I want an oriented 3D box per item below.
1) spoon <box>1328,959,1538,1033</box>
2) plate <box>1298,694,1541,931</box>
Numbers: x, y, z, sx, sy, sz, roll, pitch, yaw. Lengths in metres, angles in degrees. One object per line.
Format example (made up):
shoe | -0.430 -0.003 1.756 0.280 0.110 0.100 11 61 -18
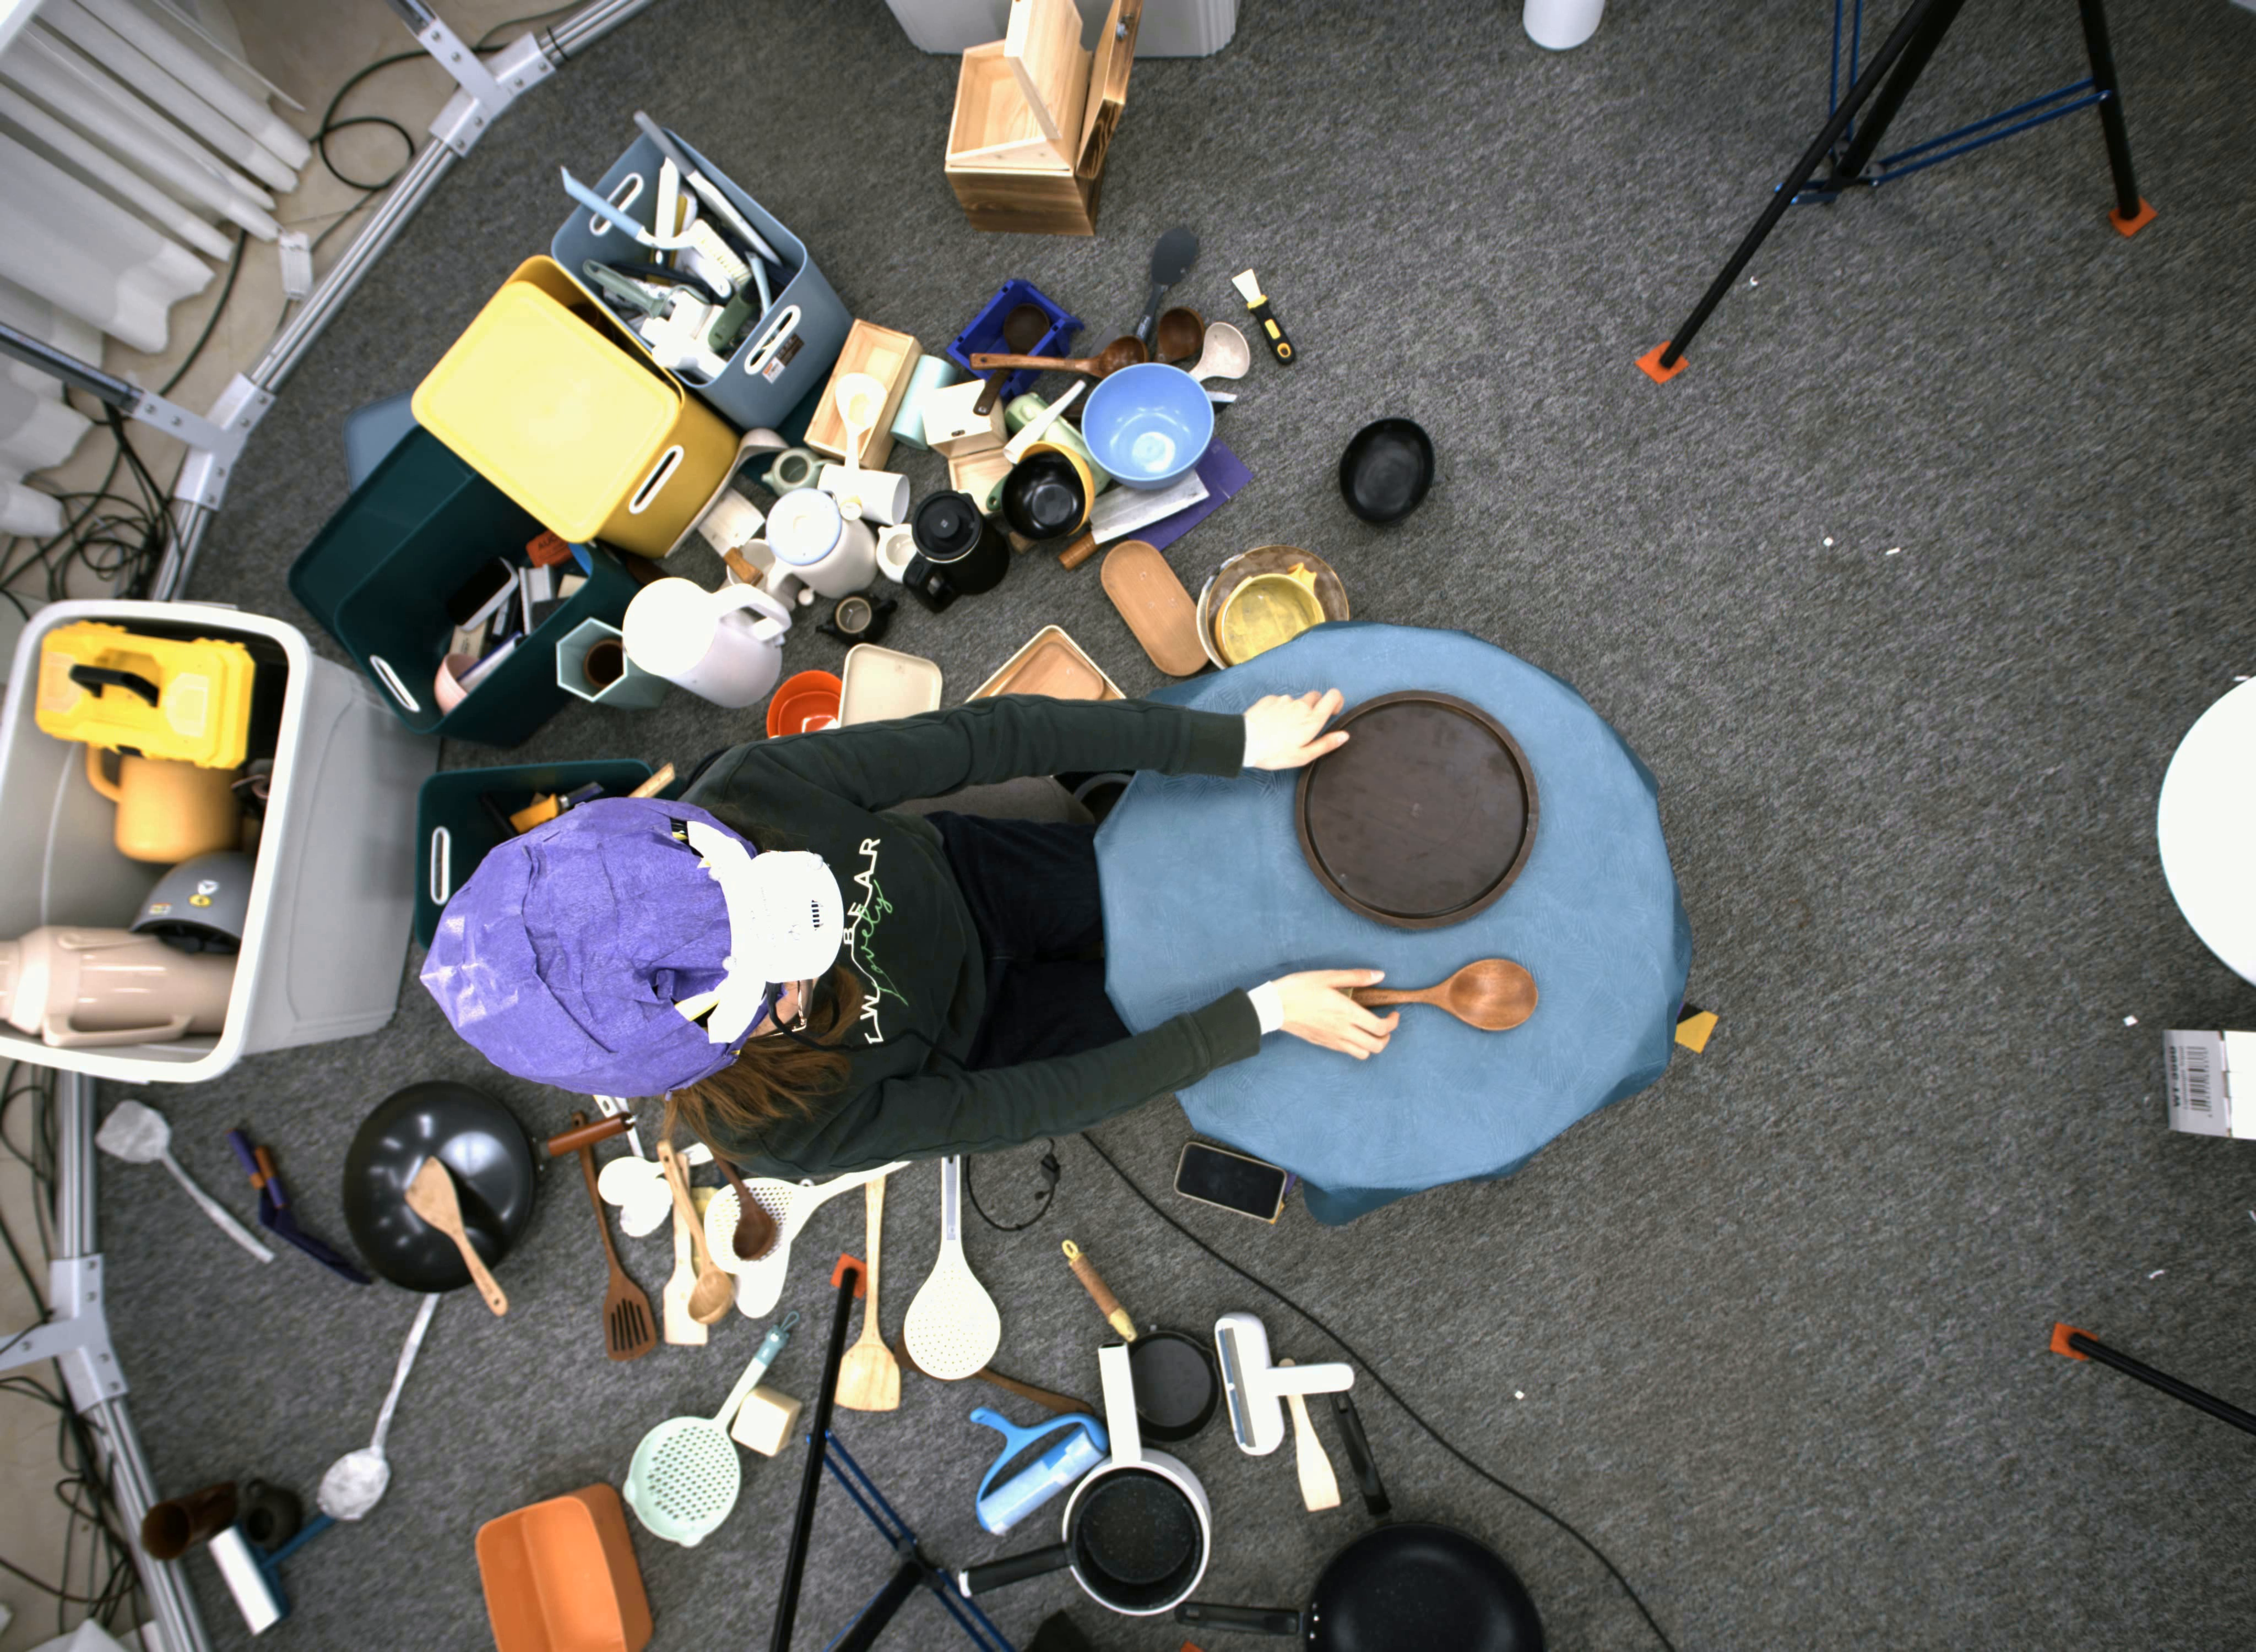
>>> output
spoon | 0.317 0.178 1.440 0.217 0.017 0.075 -3 86 10
plate | 0.305 -0.016 1.453 0.256 0.029 0.253 -1 85 9
